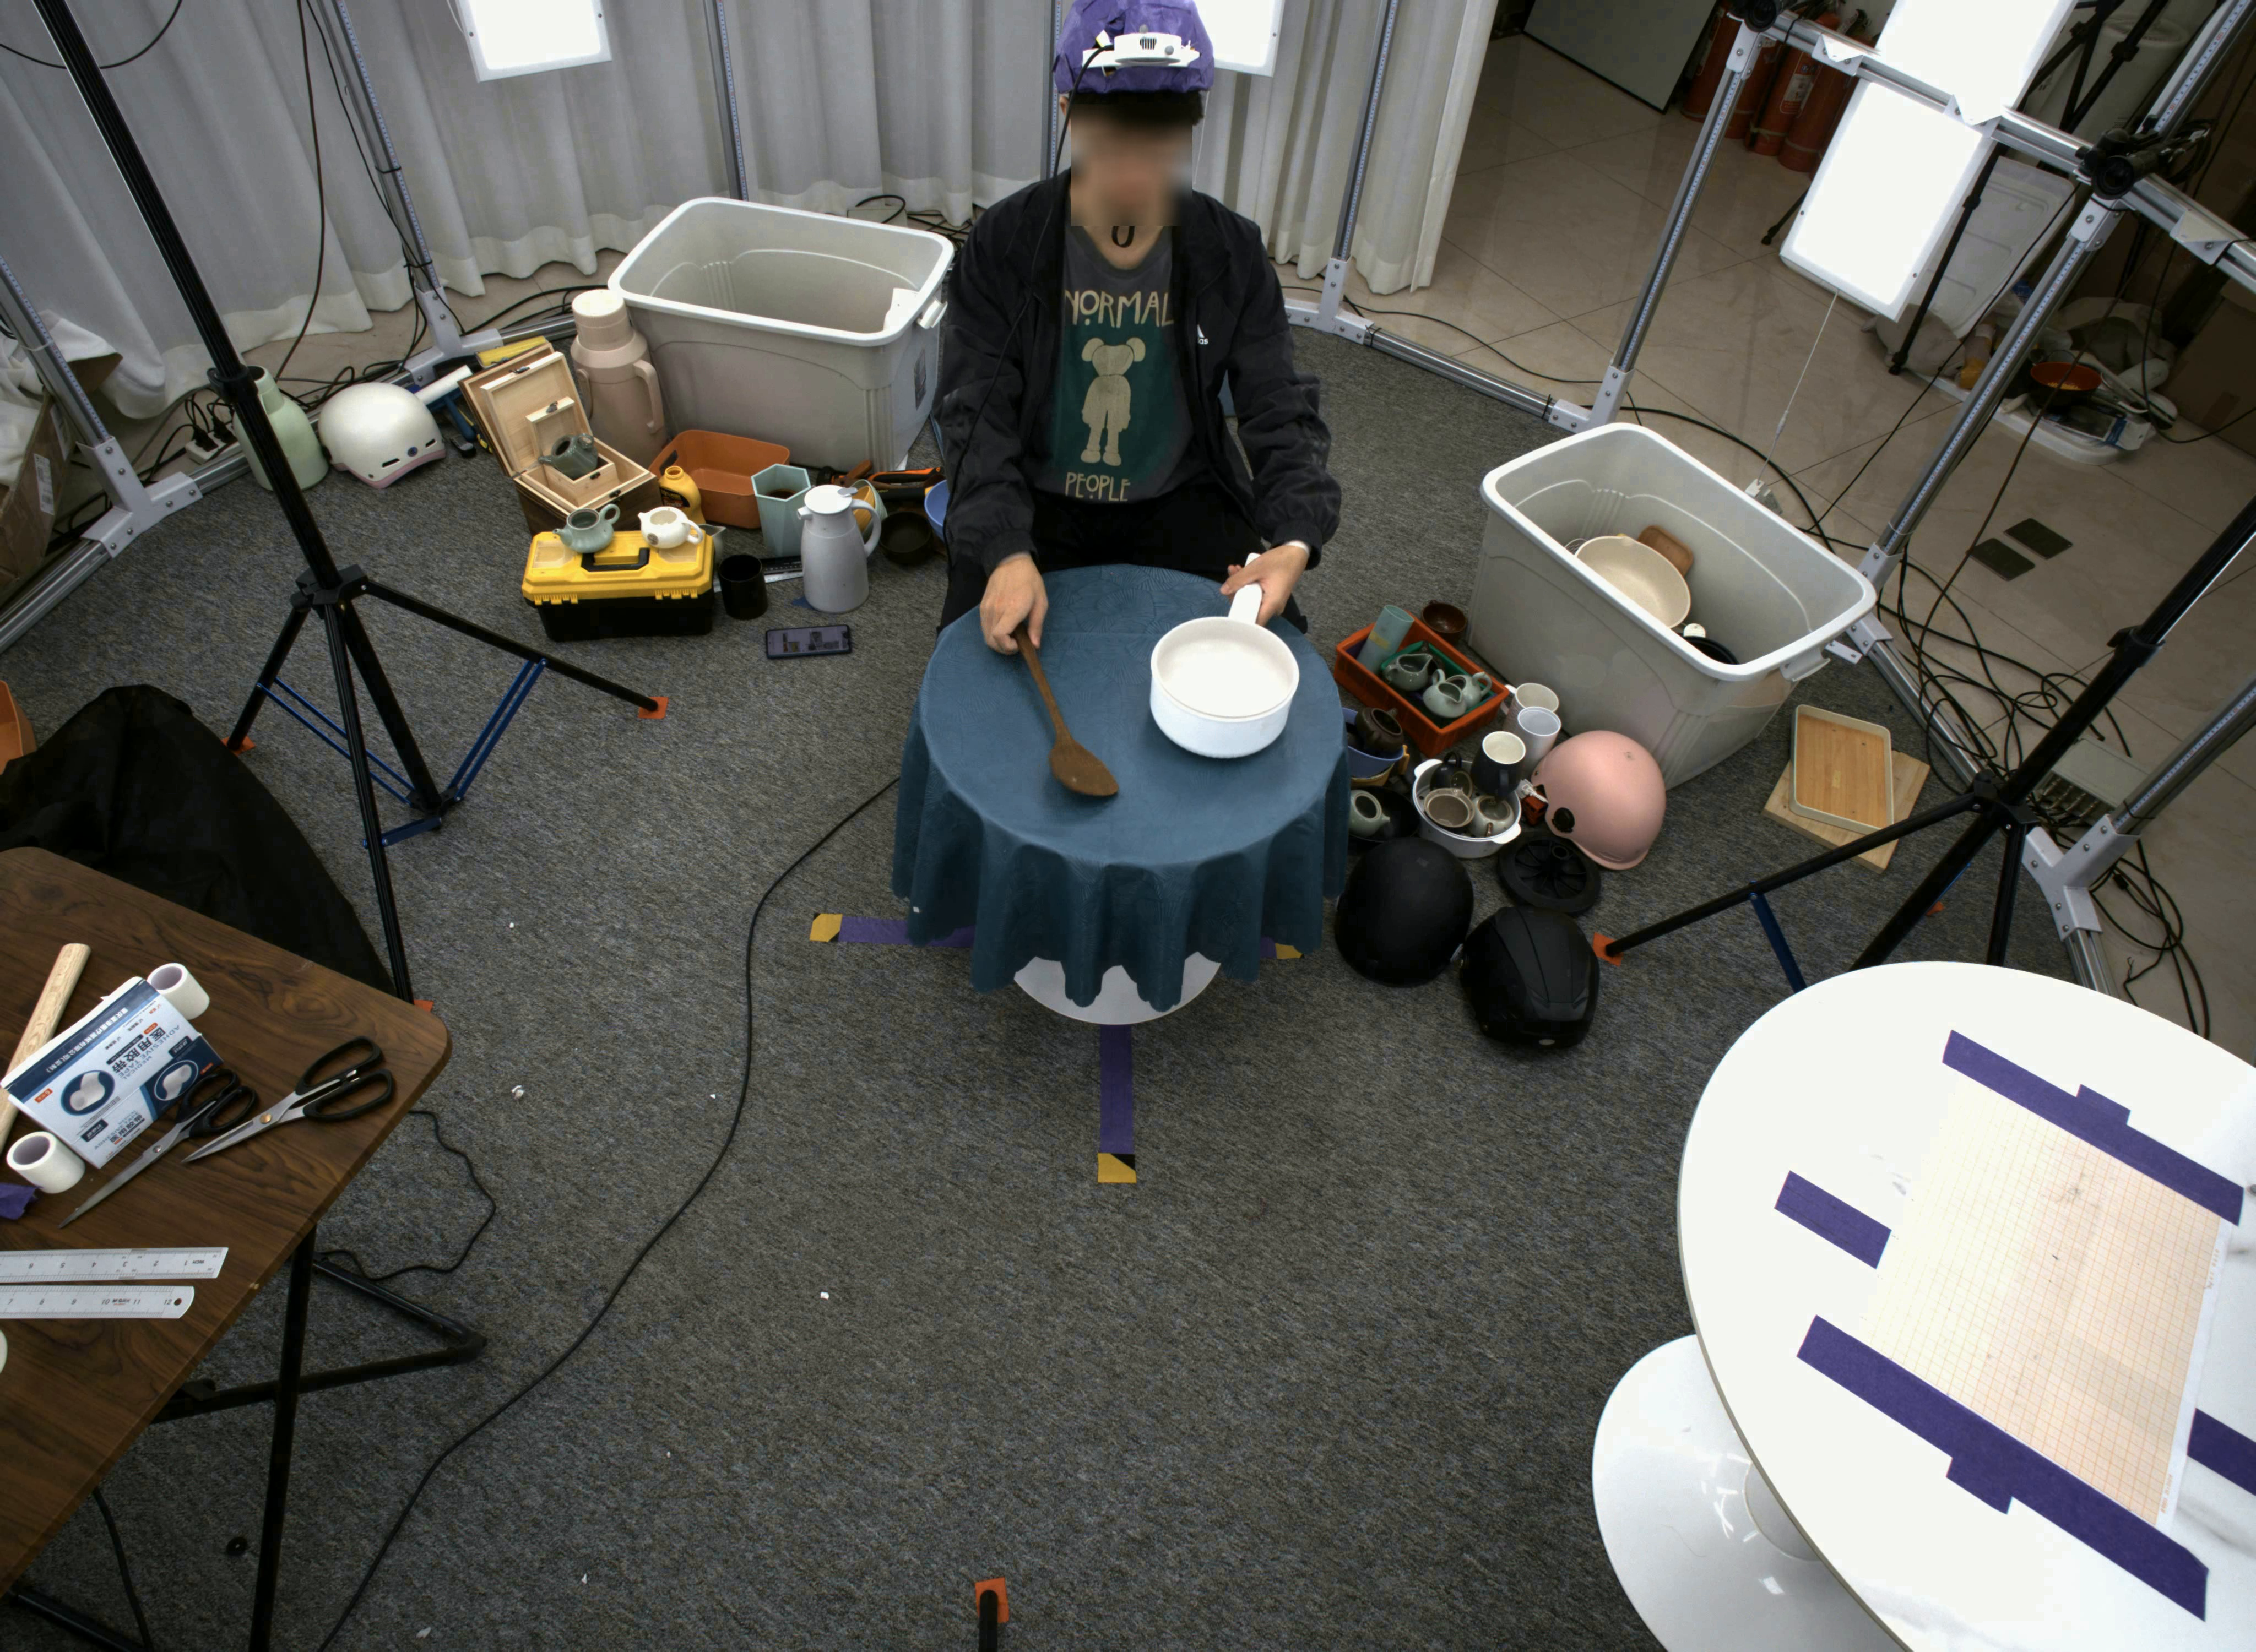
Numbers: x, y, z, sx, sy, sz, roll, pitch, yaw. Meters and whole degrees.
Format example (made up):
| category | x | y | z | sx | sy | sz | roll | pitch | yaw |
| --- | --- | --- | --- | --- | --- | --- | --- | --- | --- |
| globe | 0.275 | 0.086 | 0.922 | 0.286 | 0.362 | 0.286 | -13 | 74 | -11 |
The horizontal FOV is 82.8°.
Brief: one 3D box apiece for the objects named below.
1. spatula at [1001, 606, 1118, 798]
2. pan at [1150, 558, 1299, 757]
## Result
| category | x | y | z | sx | sy | sz | roll | pitch | yaw |
| --- | --- | --- | --- | --- | --- | --- | --- | --- | --- |
| spatula | -0.113 | -0.181 | 1.784 | 0.095 | 0.015 | 0.395 | 2 | 47 | -31 |
| pan | 0.149 | -0.241 | 1.825 | 0.202 | 0.099 | 0.362 | 13 | 47 | 9 |
